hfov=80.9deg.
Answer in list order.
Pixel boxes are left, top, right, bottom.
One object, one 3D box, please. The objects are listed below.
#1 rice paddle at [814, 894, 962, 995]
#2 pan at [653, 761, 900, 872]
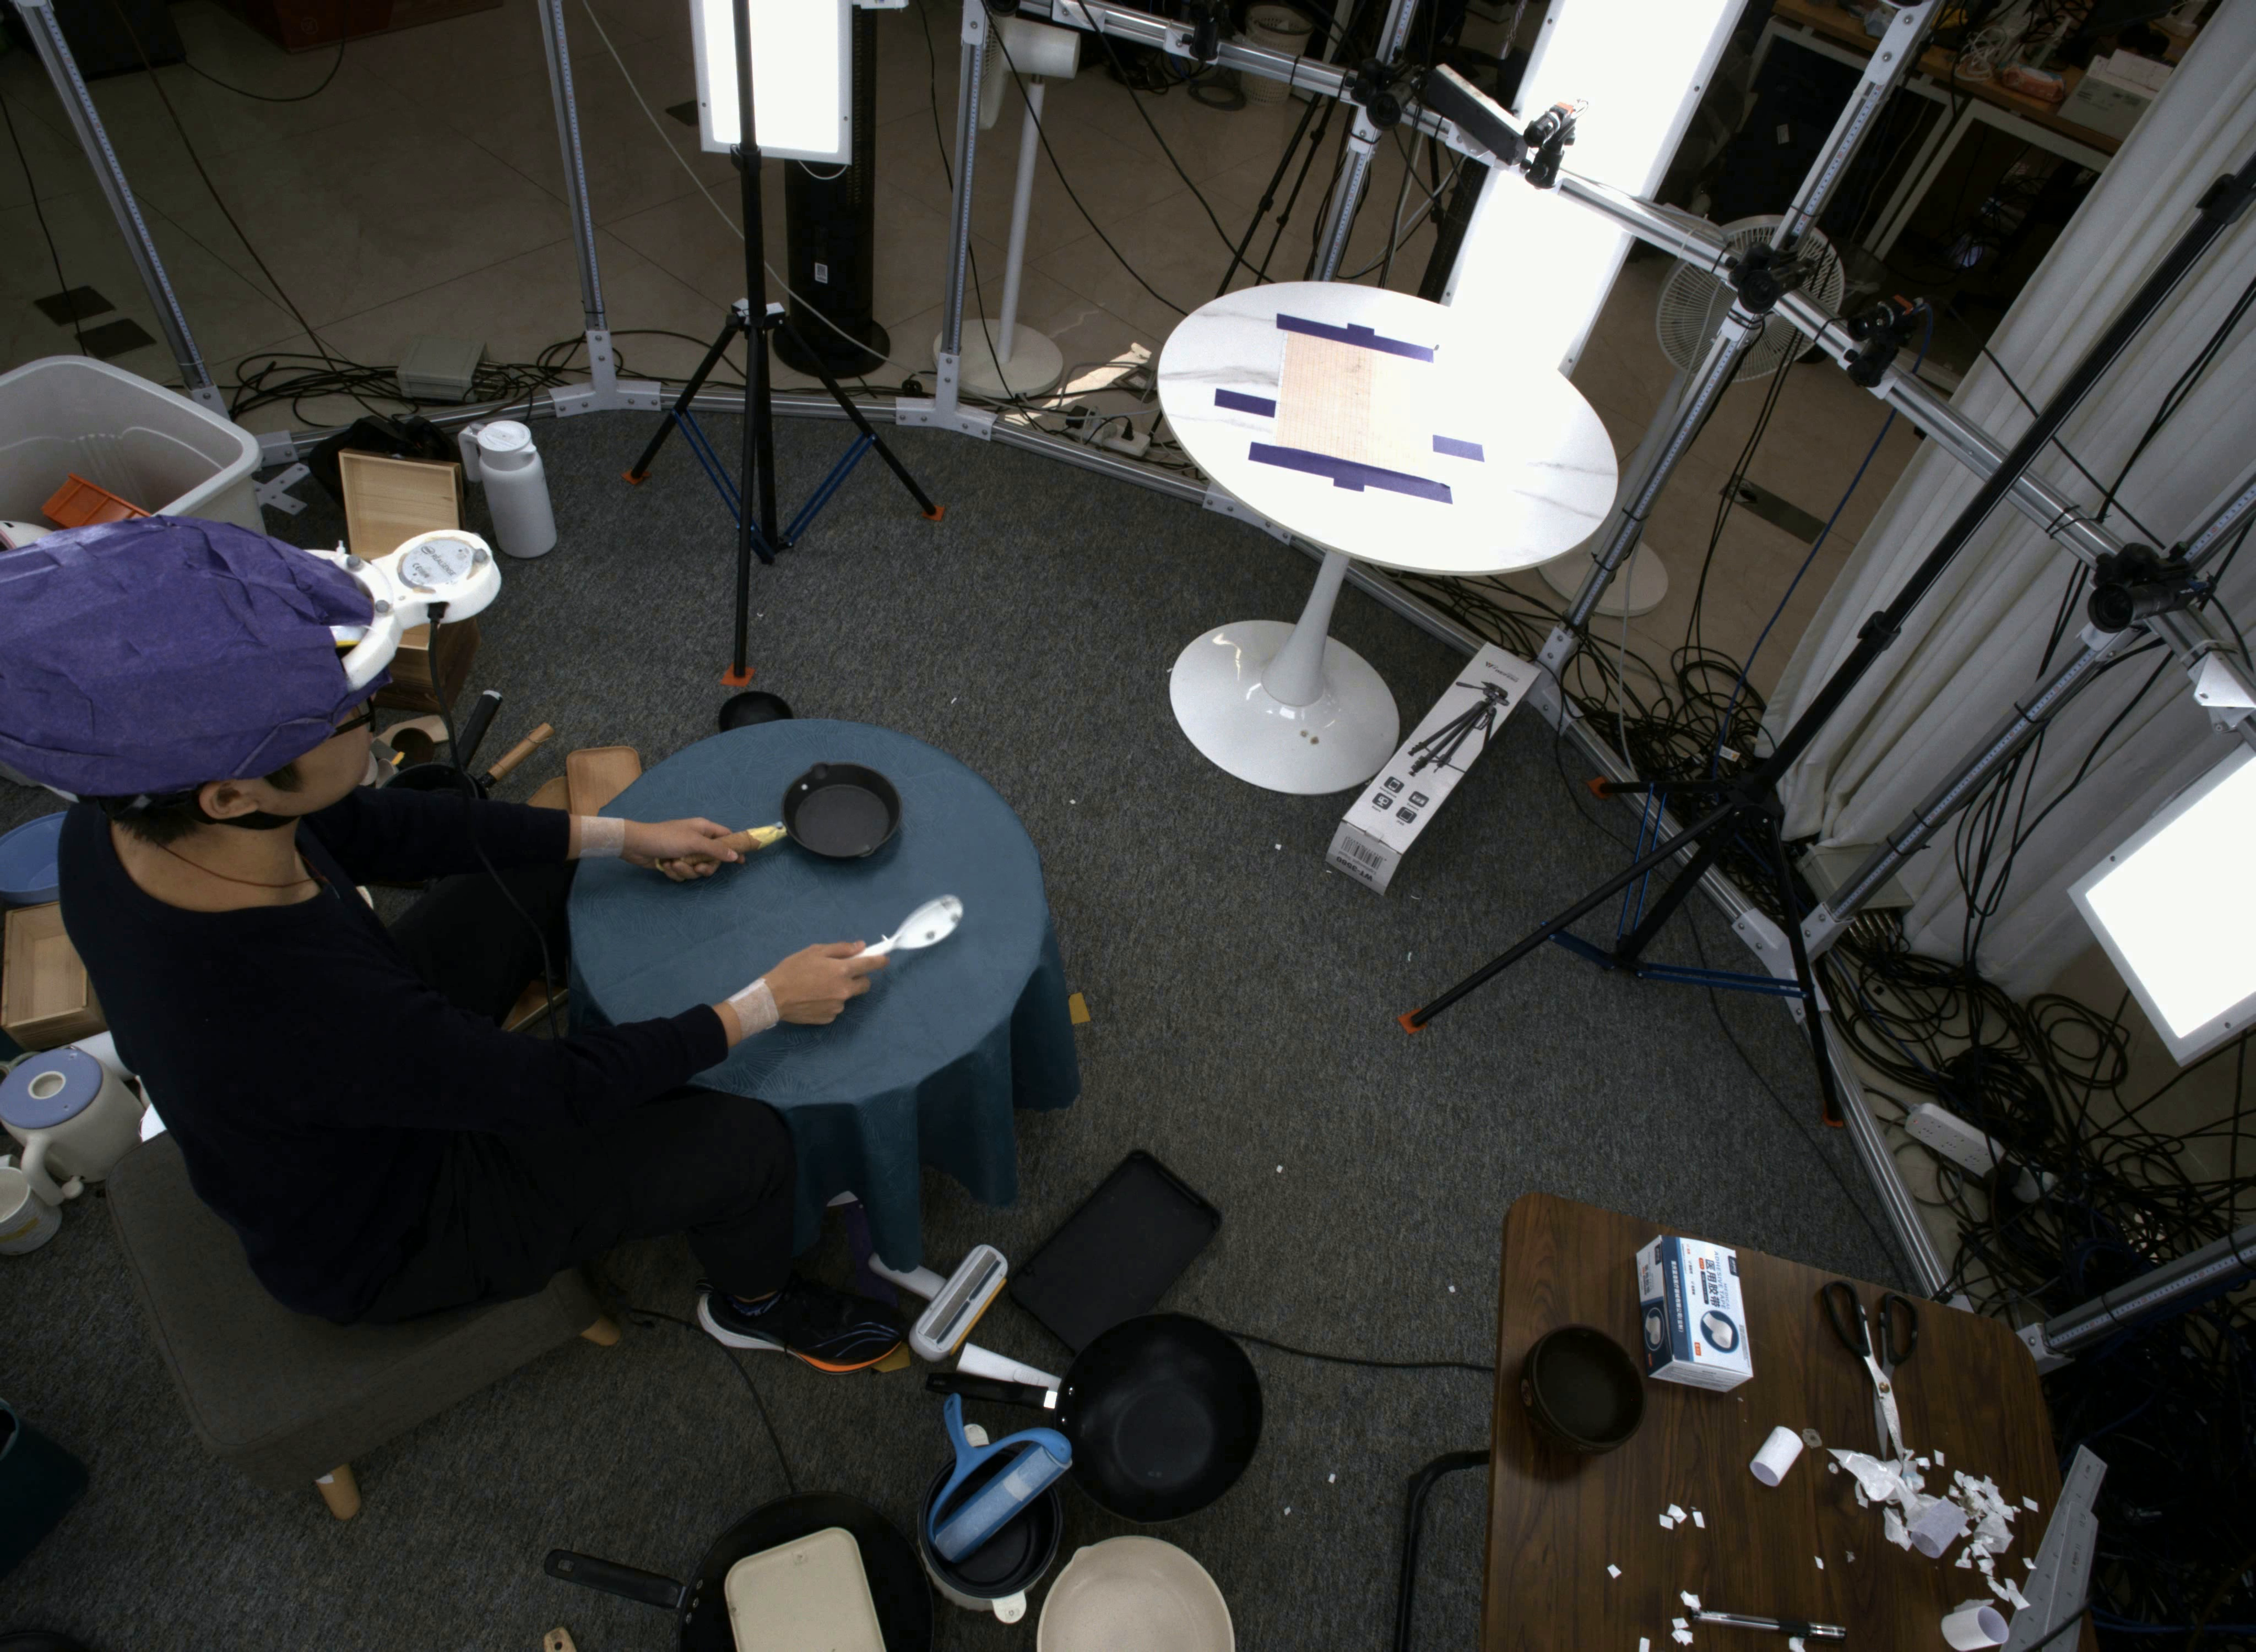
[{"bbox_3d":[-0.287,0.142,1.592,0.206,0.071,0.028,-29,44,-28],"label":"rice paddle"},{"bbox_3d":[-0.451,0.005,1.672,0.326,0.050,0.165,-18,60,-26],"label":"pan"}]
